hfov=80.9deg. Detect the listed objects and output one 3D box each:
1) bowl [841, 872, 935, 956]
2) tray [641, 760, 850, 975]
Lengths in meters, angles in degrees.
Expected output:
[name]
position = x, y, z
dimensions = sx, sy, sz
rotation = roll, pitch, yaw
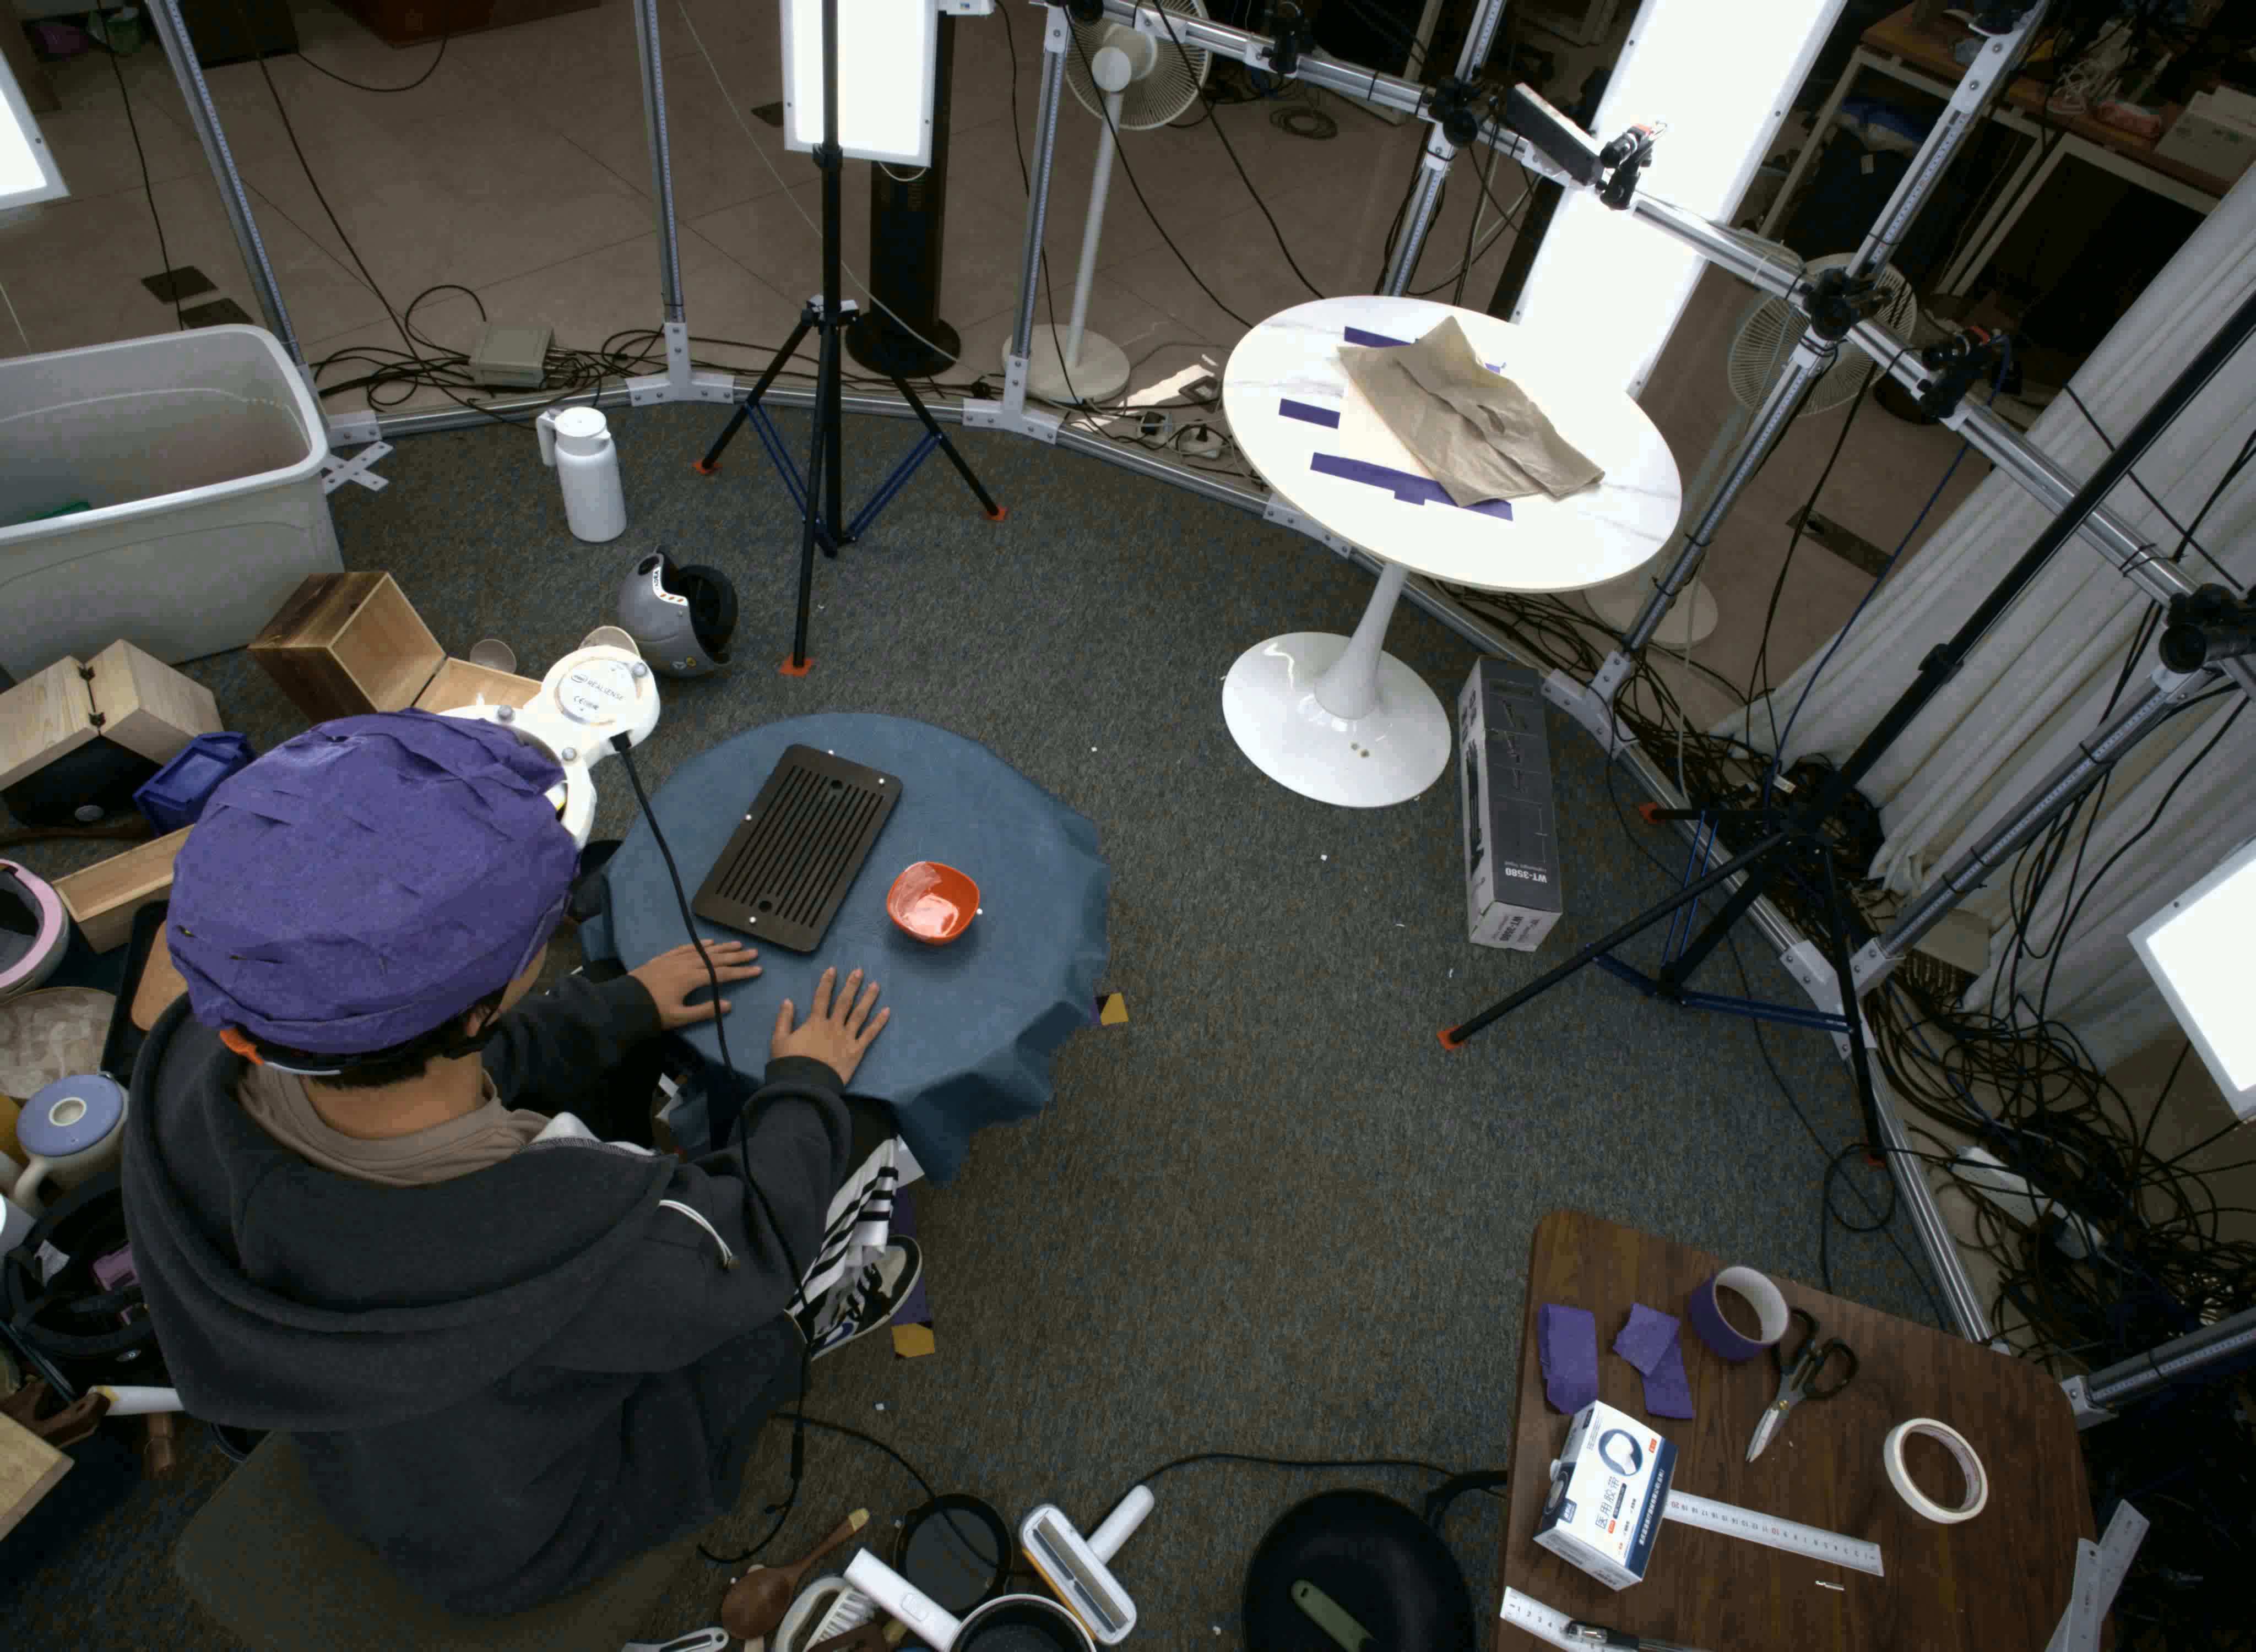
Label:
[bowl]
position = -0.303, 0.117, 1.635
dimensions = 0.119, 0.052, 0.116
rotation = 10, 48, -10
[tray]
position = -0.487, 0.047, 1.666
dimensions = 0.169, 0.019, 0.302
rotation = 17, 52, -2
